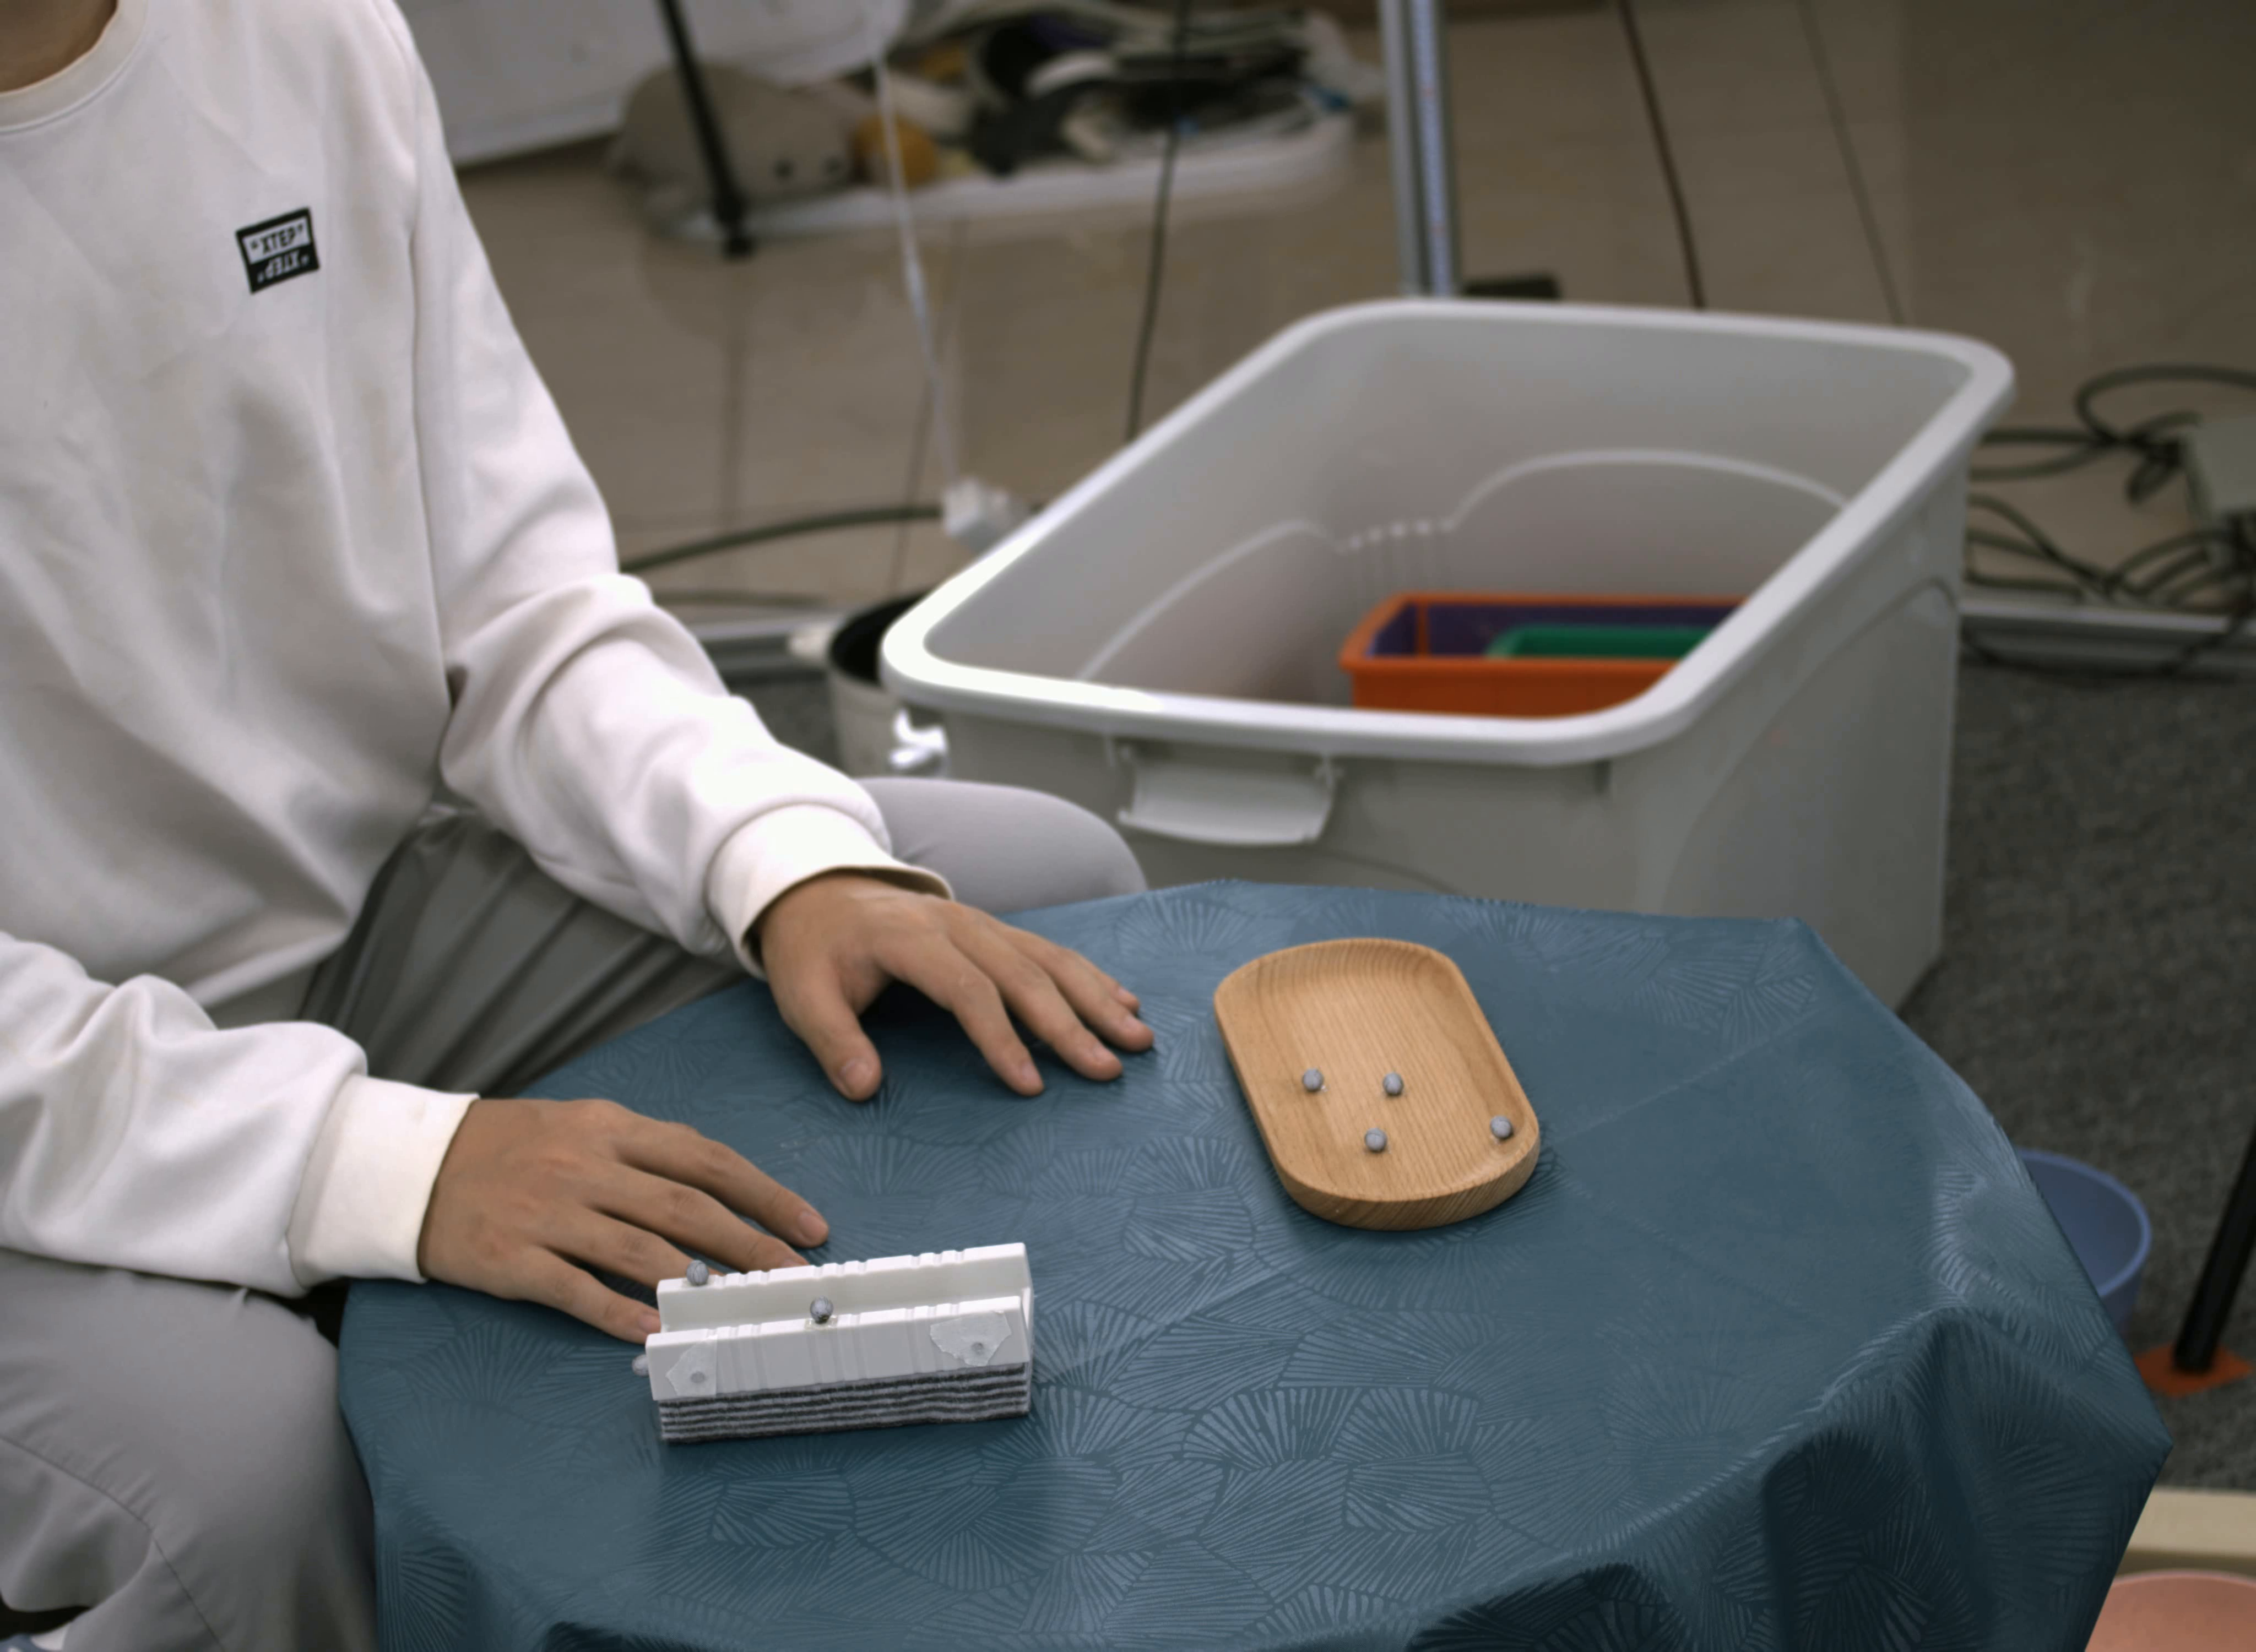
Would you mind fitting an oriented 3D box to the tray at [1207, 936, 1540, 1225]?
[{"bbox_3d":[0.094,0.097,2.196,0.101,0.020,0.228,-9,23,-7],"label":"tray"}]

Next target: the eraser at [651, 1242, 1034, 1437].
[{"bbox_3d":[-0.101,0.183,2.018,0.134,0.047,0.049,-7,20,0],"label":"eraser"}]
